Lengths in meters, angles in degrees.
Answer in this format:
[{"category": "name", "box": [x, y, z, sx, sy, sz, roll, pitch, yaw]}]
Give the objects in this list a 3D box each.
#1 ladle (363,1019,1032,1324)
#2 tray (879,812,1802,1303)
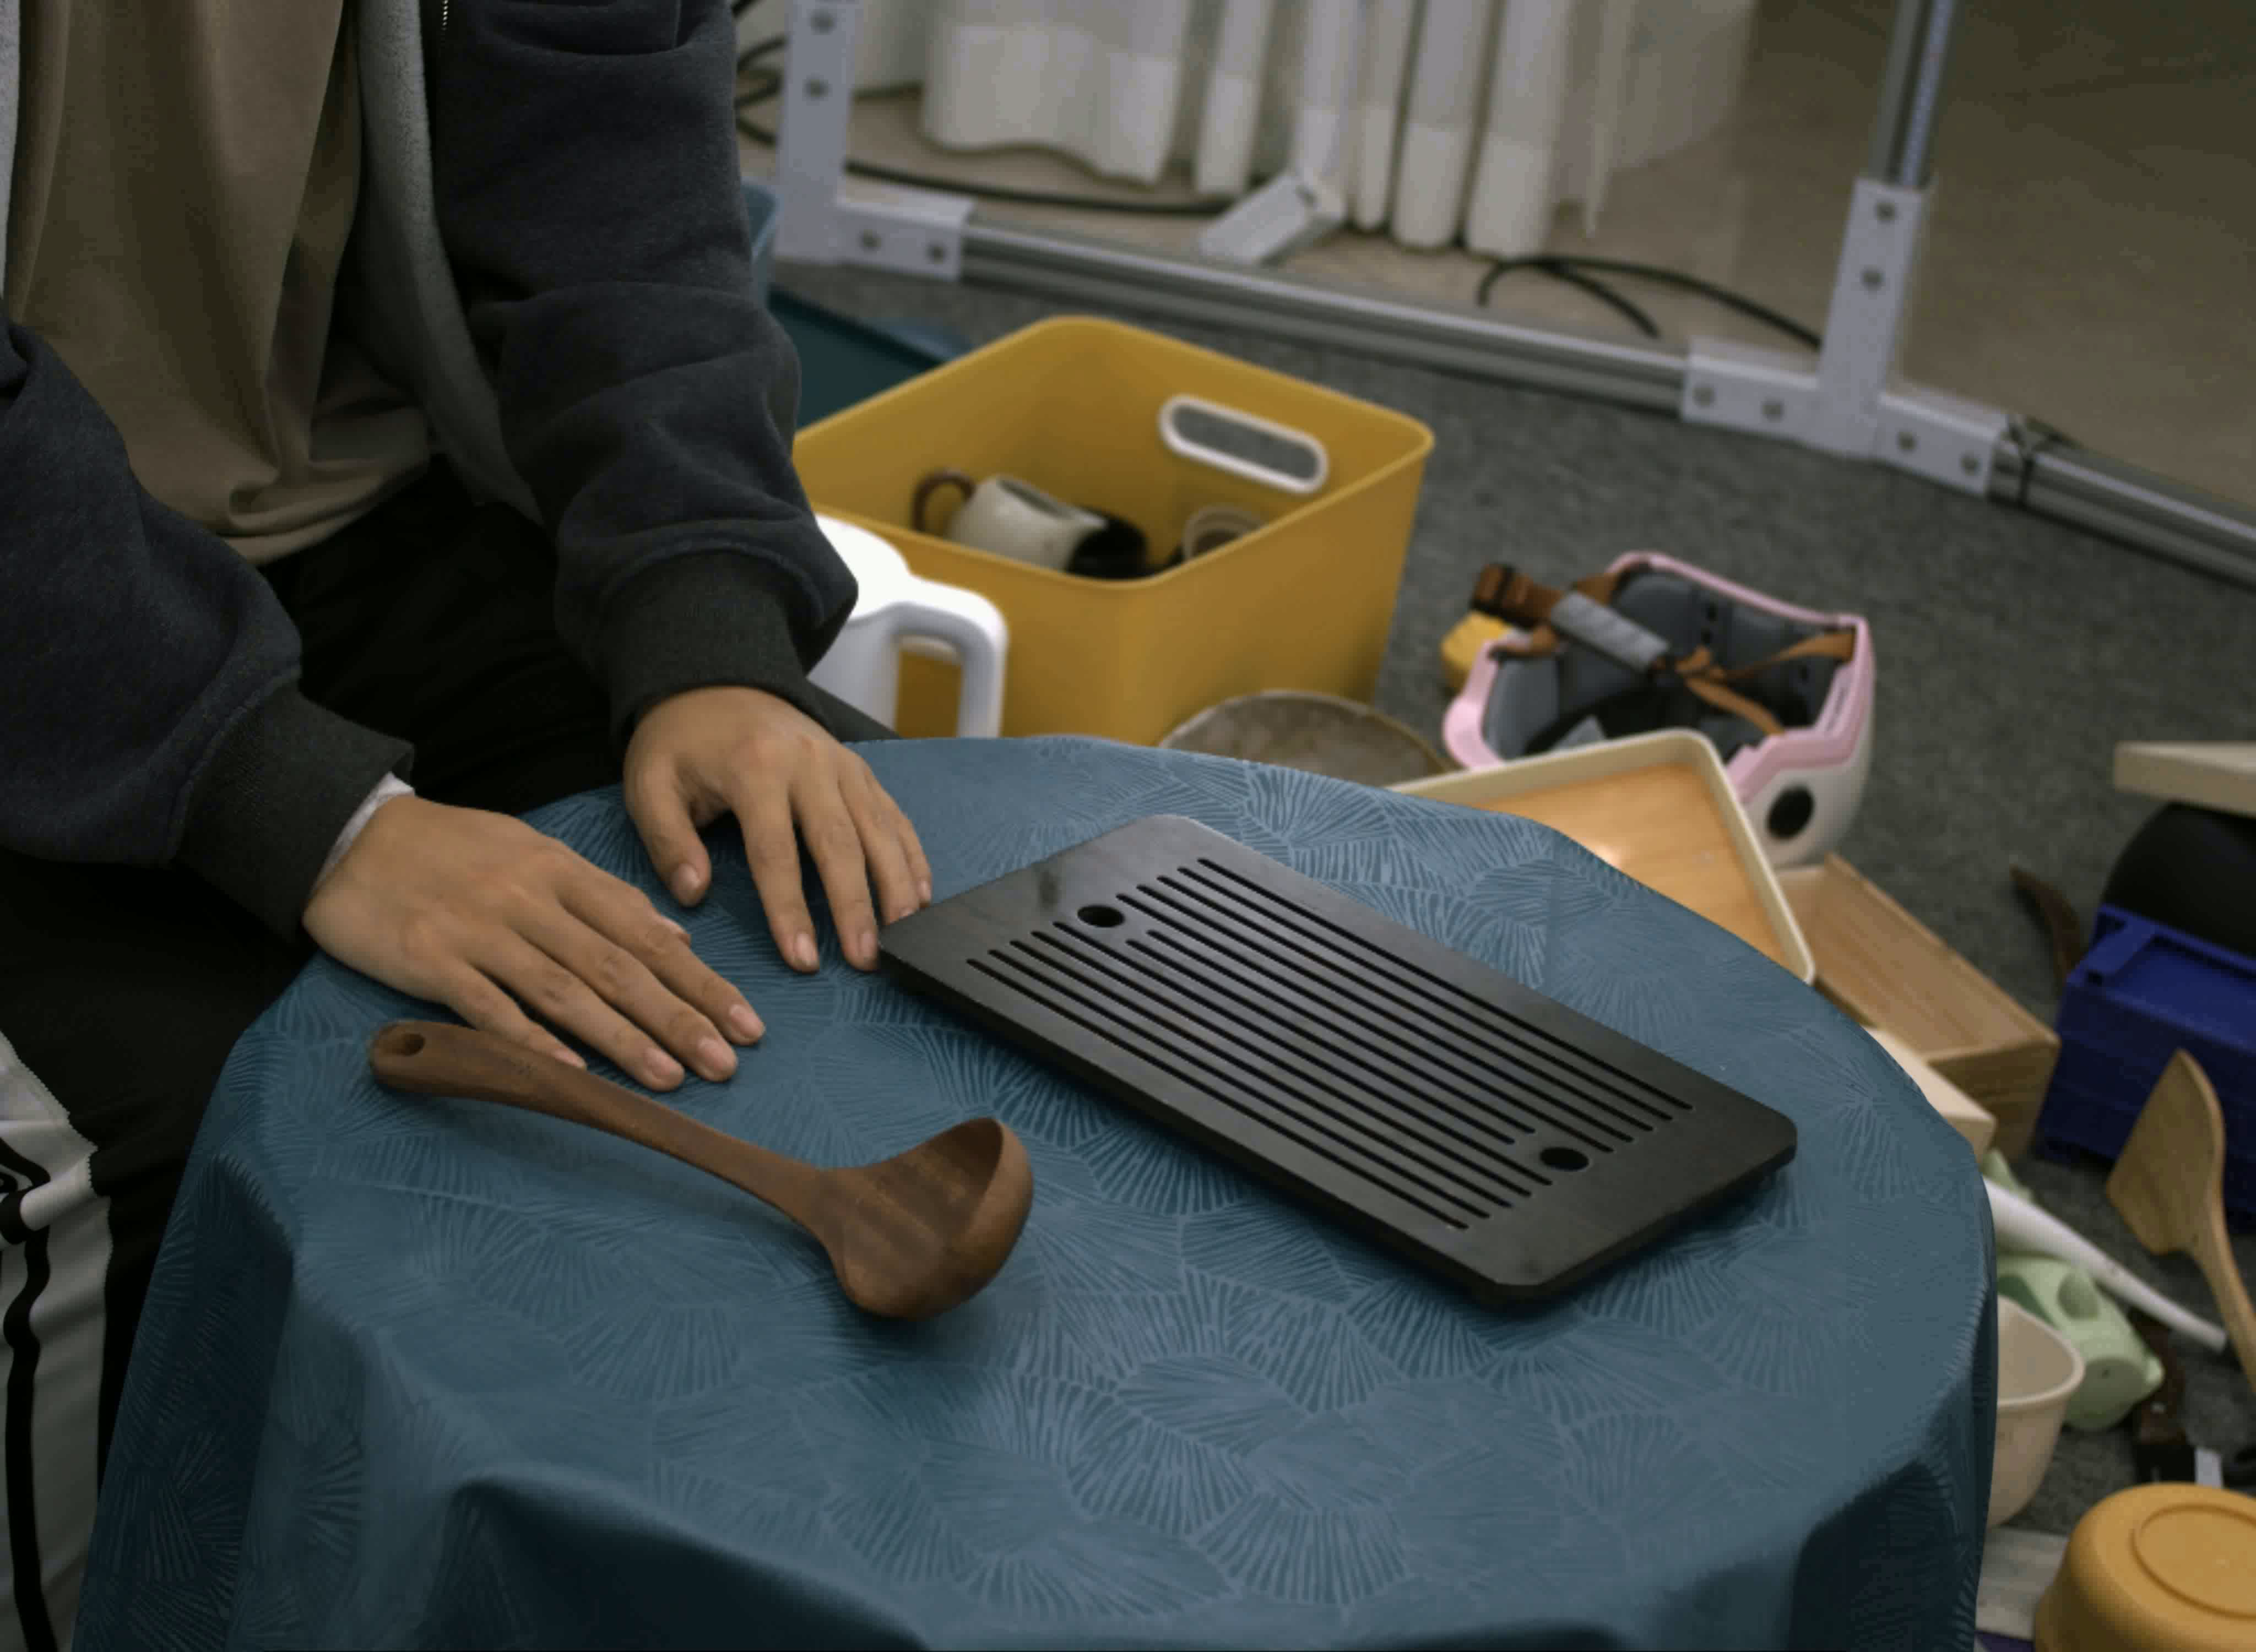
[{"category": "ladle", "box": [-0.148, 0.098, 1.750, 0.261, 0.064, 0.077, 19, 56, 23]}, {"category": "tray", "box": [0.072, 0.079, 1.886, 0.308, 0.018, 0.169, 27, 33, 35]}]
